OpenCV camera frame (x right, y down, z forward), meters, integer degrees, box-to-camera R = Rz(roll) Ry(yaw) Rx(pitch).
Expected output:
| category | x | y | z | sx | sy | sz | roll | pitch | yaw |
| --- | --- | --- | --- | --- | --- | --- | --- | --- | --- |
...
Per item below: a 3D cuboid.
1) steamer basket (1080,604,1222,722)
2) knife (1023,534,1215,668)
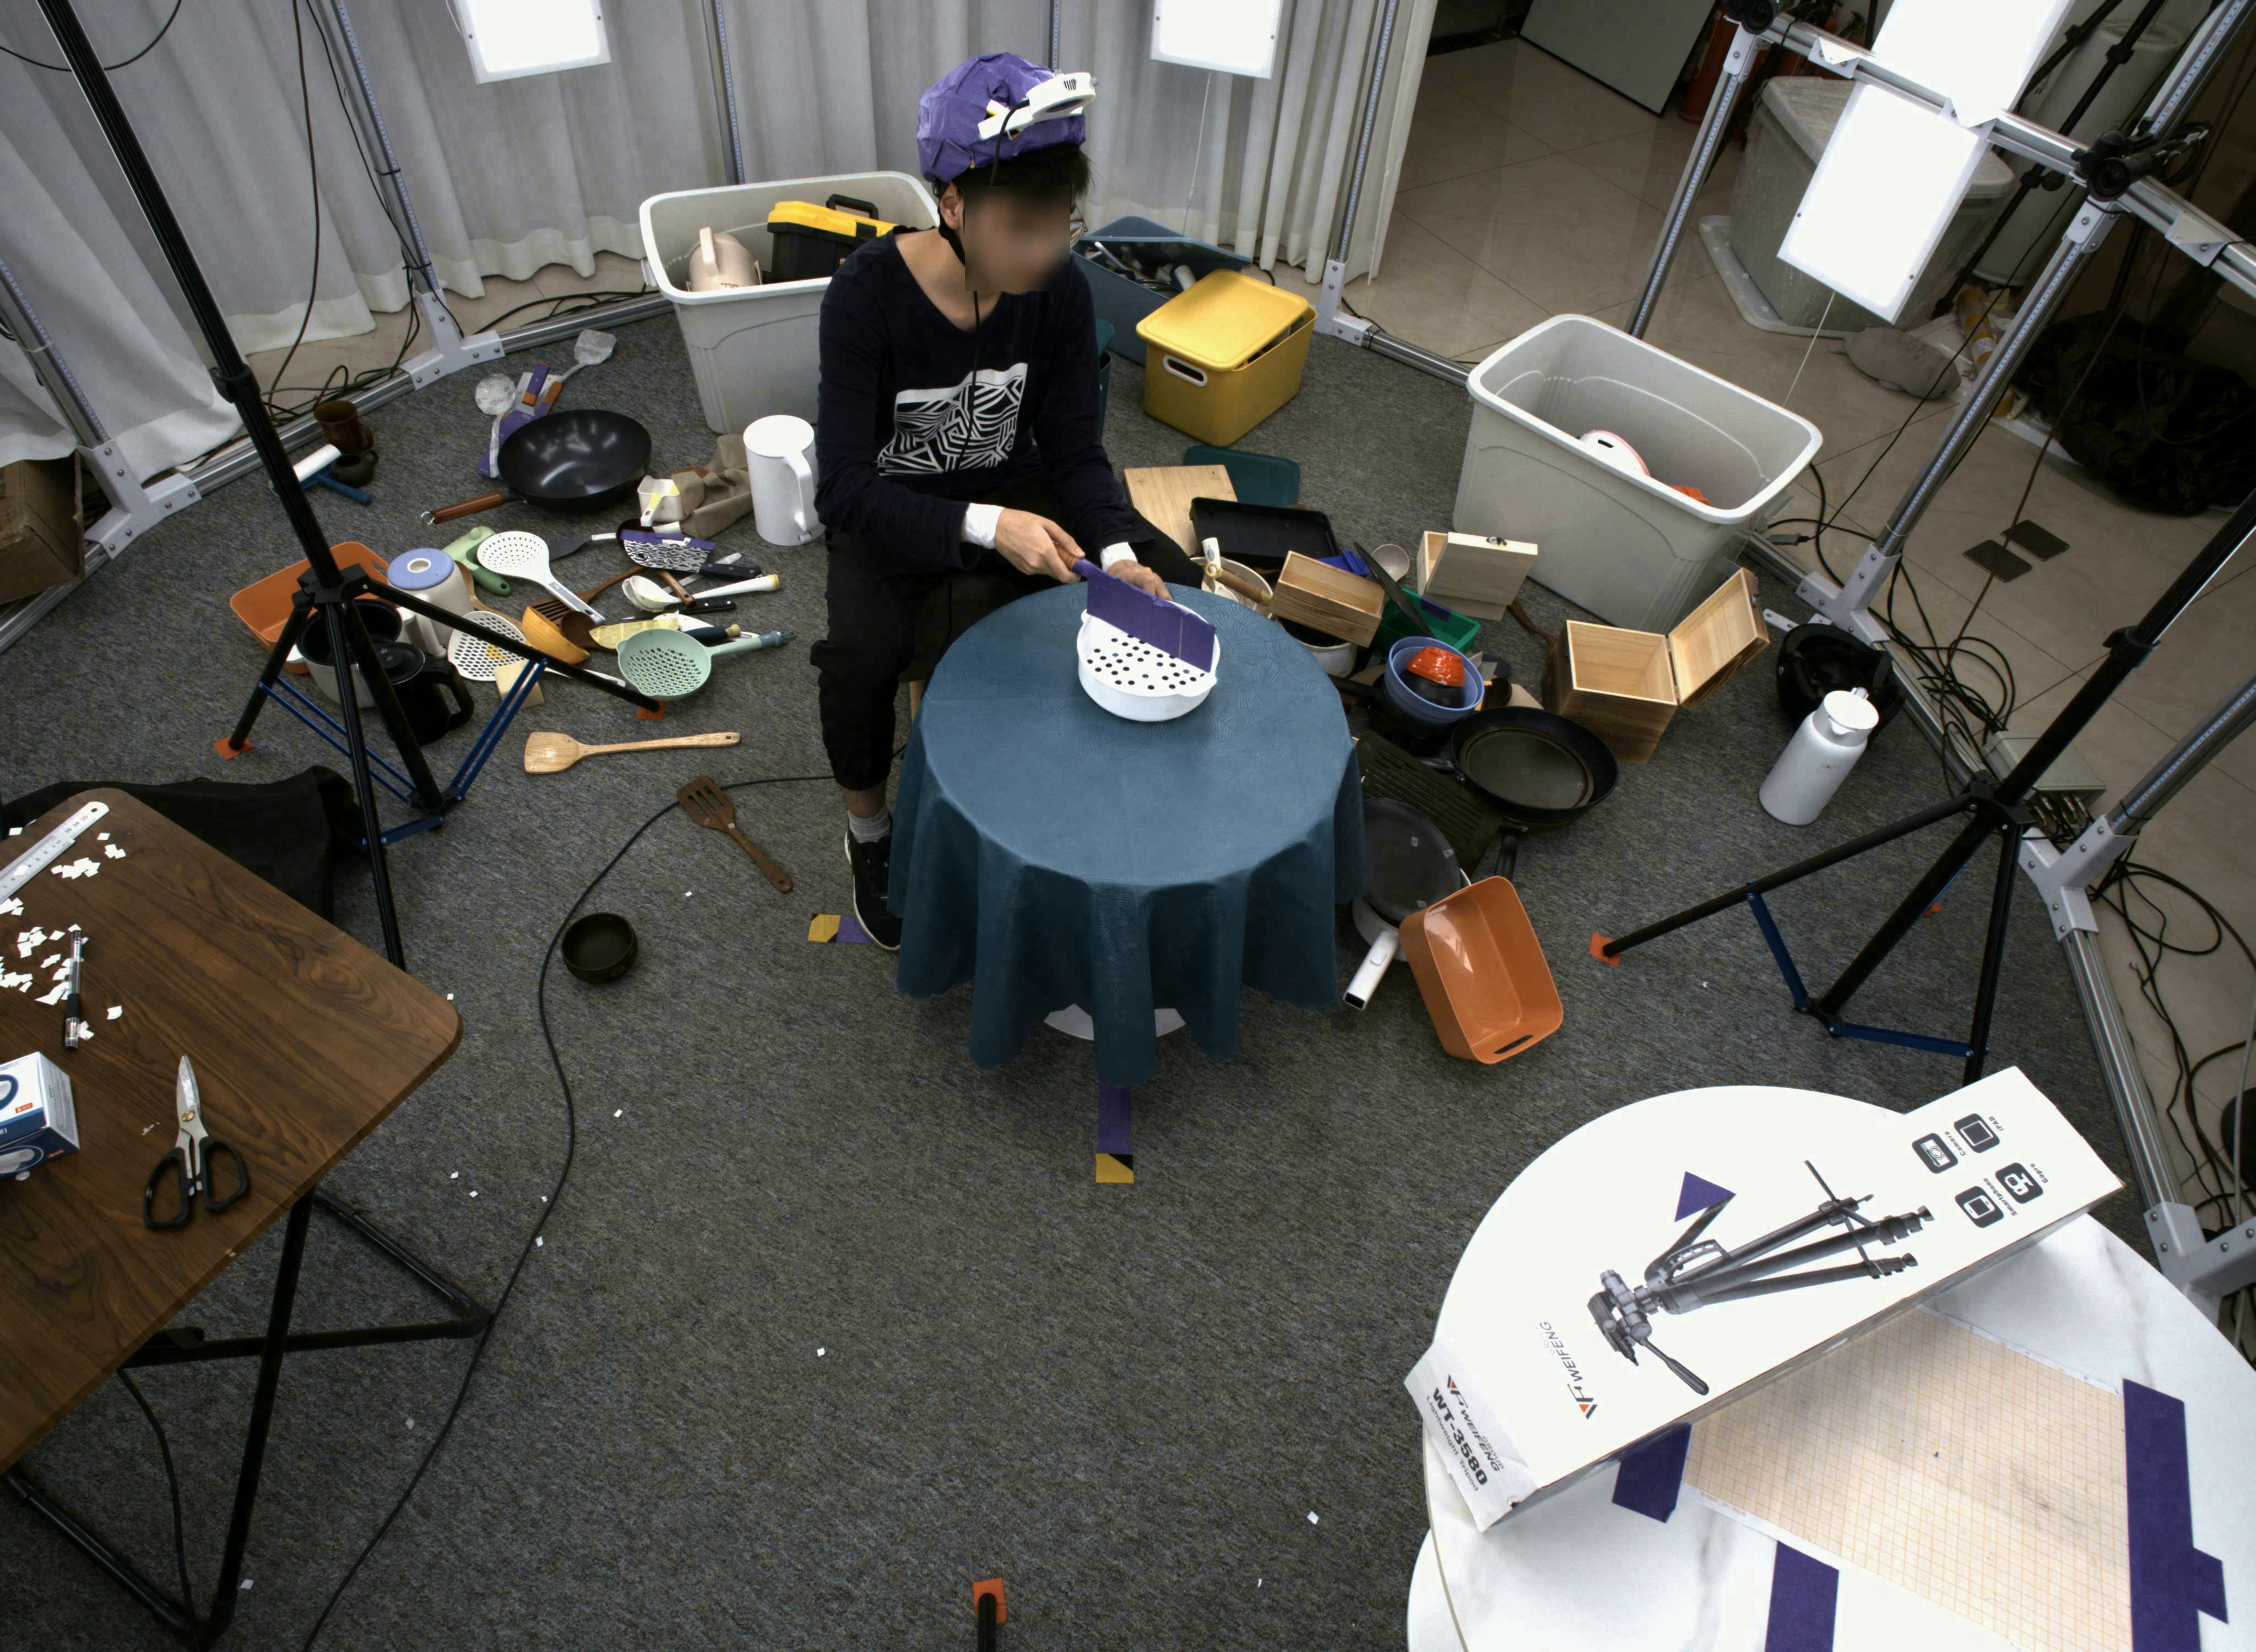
| category | x | y | z | sx | sy | sz | roll | pitch | yaw |
| --- | --- | --- | --- | --- | --- | --- | --- | --- | --- |
| steamer basket | 0.031 | -0.232 | 1.829 | 0.203 | 0.067 | 0.234 | -34 | 57 | -30 |
| knife | -0.015 | -0.308 | 1.787 | 0.319 | 0.101 | 0.032 | 31 | 53 | 22 |
